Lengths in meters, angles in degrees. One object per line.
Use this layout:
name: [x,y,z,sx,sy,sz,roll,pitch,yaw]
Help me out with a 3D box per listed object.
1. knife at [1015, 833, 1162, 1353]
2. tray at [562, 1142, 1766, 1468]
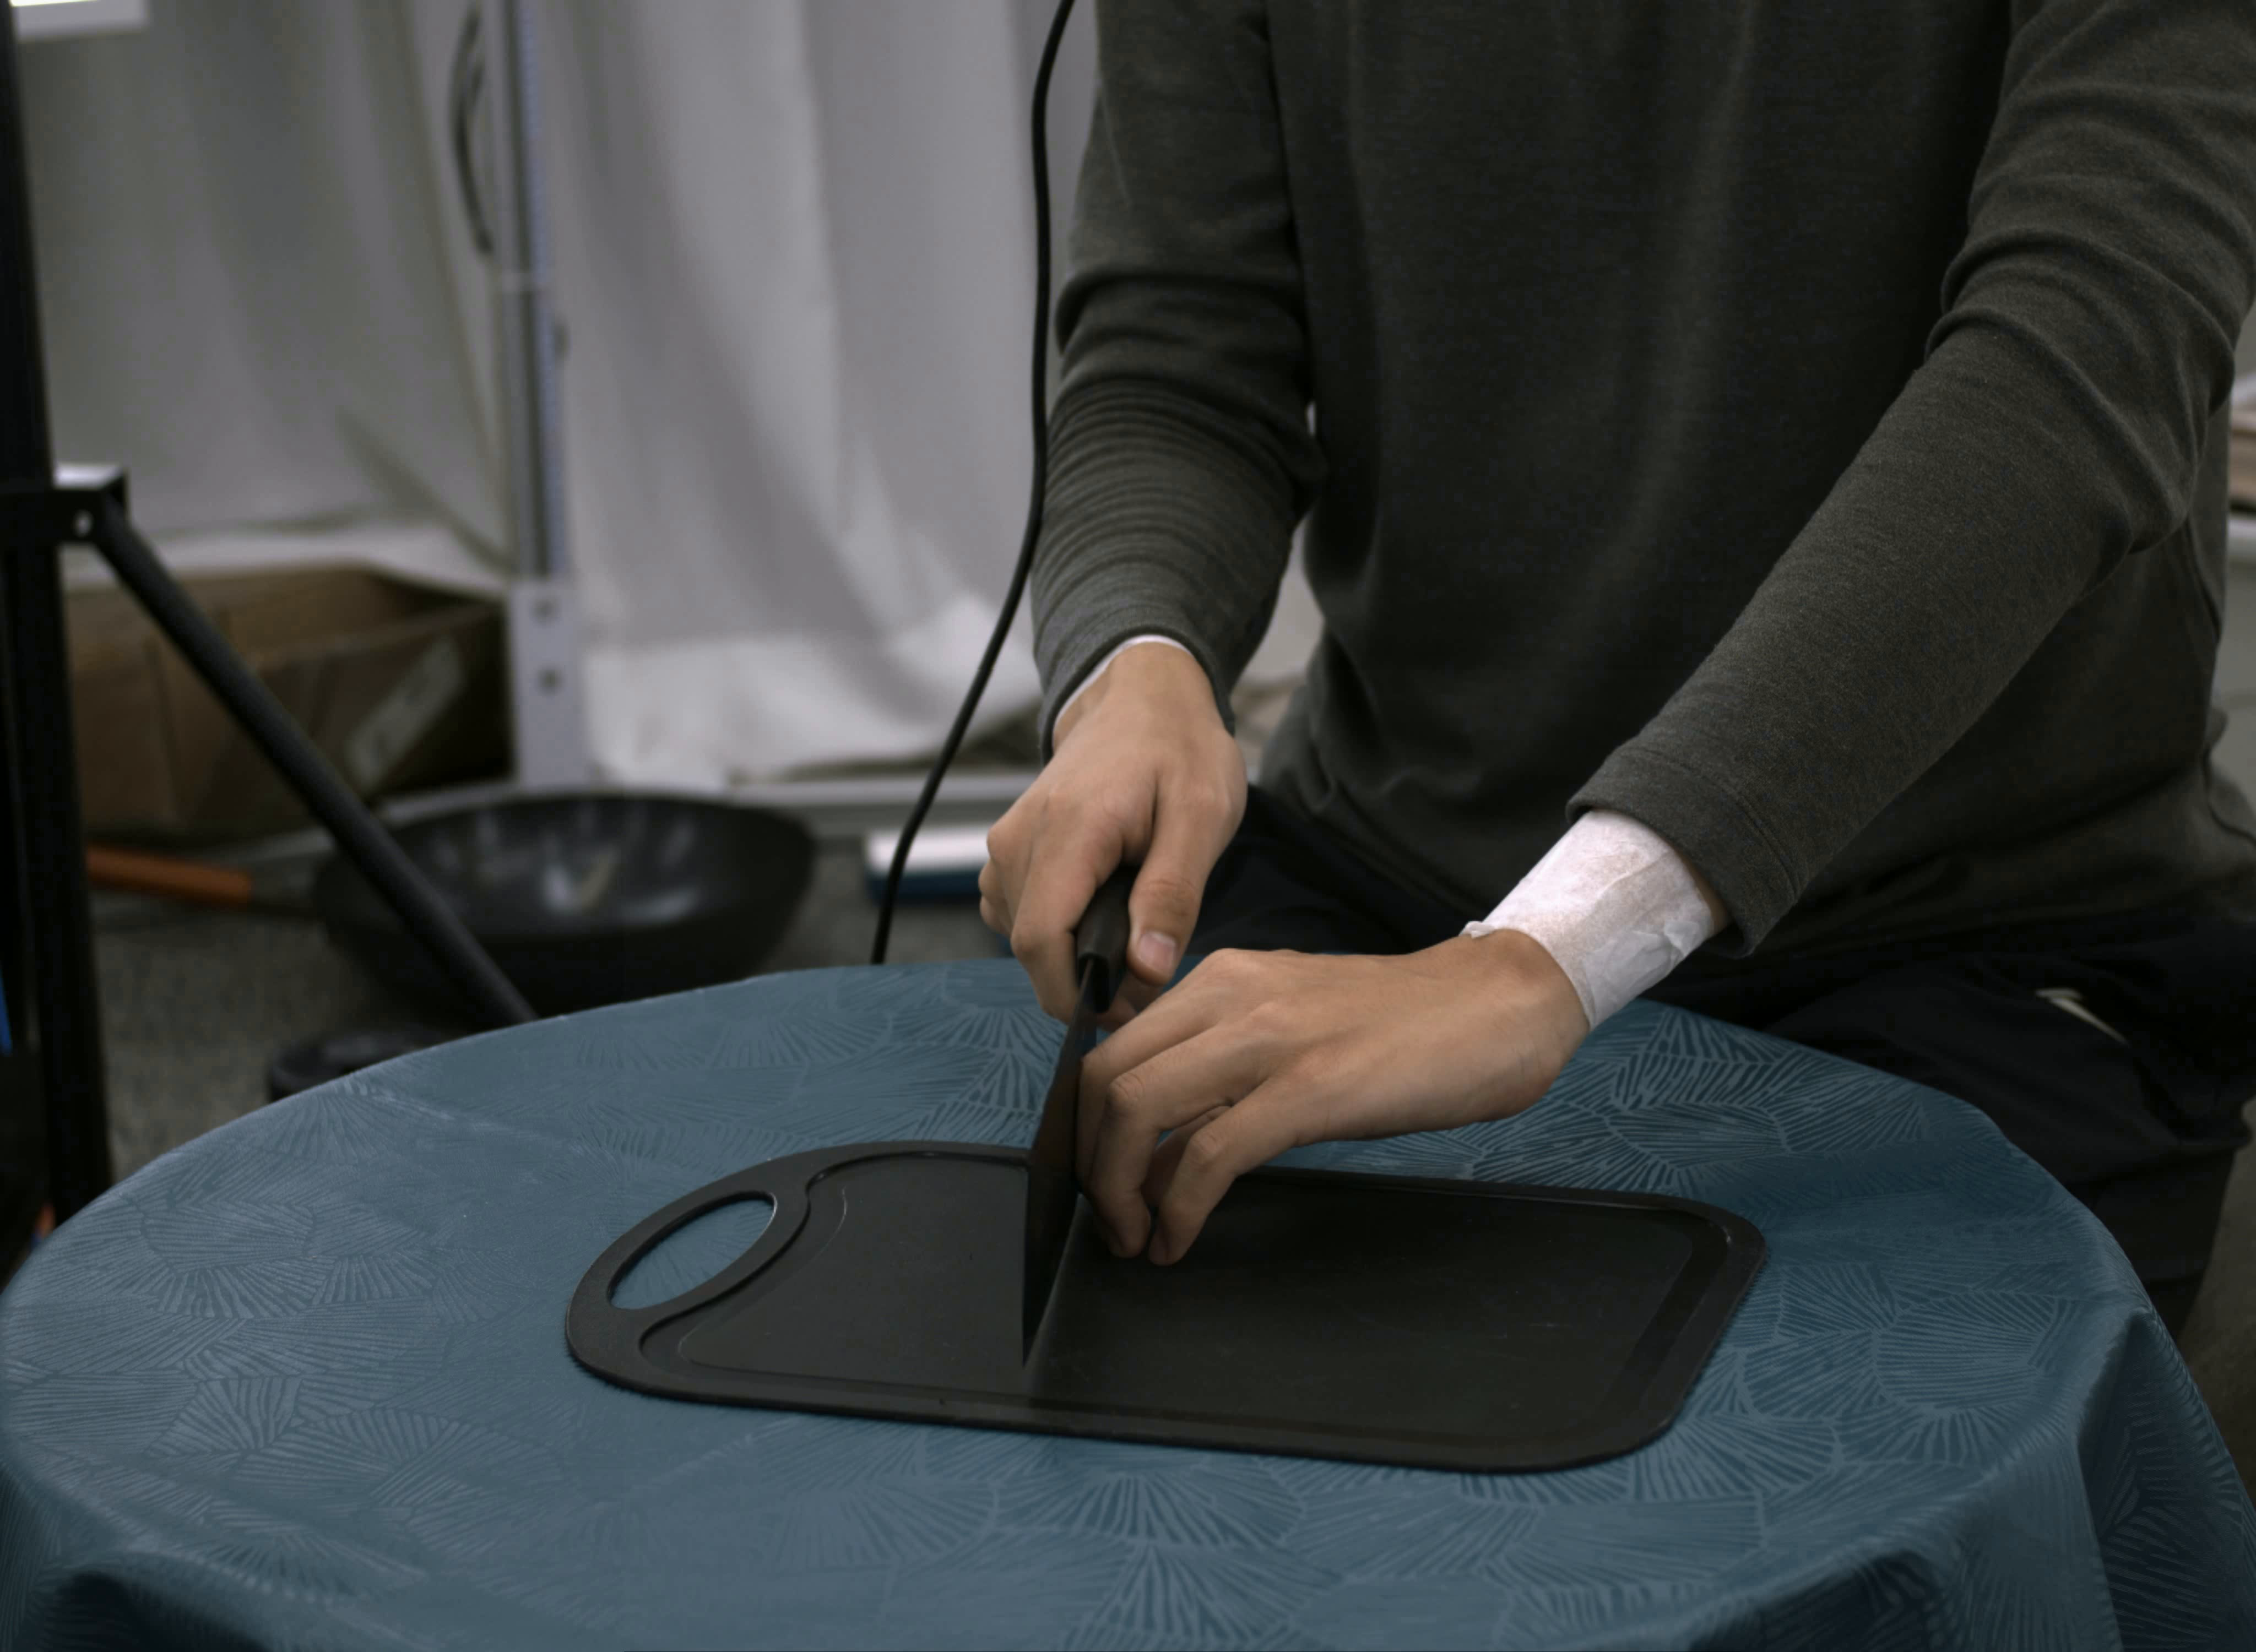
knife: [-0.013,0.068,1.537,0.021,0.081,0.302,5,21,4]
tray: [0.005,0.129,1.477,0.329,0.010,0.208,3,16,20]
